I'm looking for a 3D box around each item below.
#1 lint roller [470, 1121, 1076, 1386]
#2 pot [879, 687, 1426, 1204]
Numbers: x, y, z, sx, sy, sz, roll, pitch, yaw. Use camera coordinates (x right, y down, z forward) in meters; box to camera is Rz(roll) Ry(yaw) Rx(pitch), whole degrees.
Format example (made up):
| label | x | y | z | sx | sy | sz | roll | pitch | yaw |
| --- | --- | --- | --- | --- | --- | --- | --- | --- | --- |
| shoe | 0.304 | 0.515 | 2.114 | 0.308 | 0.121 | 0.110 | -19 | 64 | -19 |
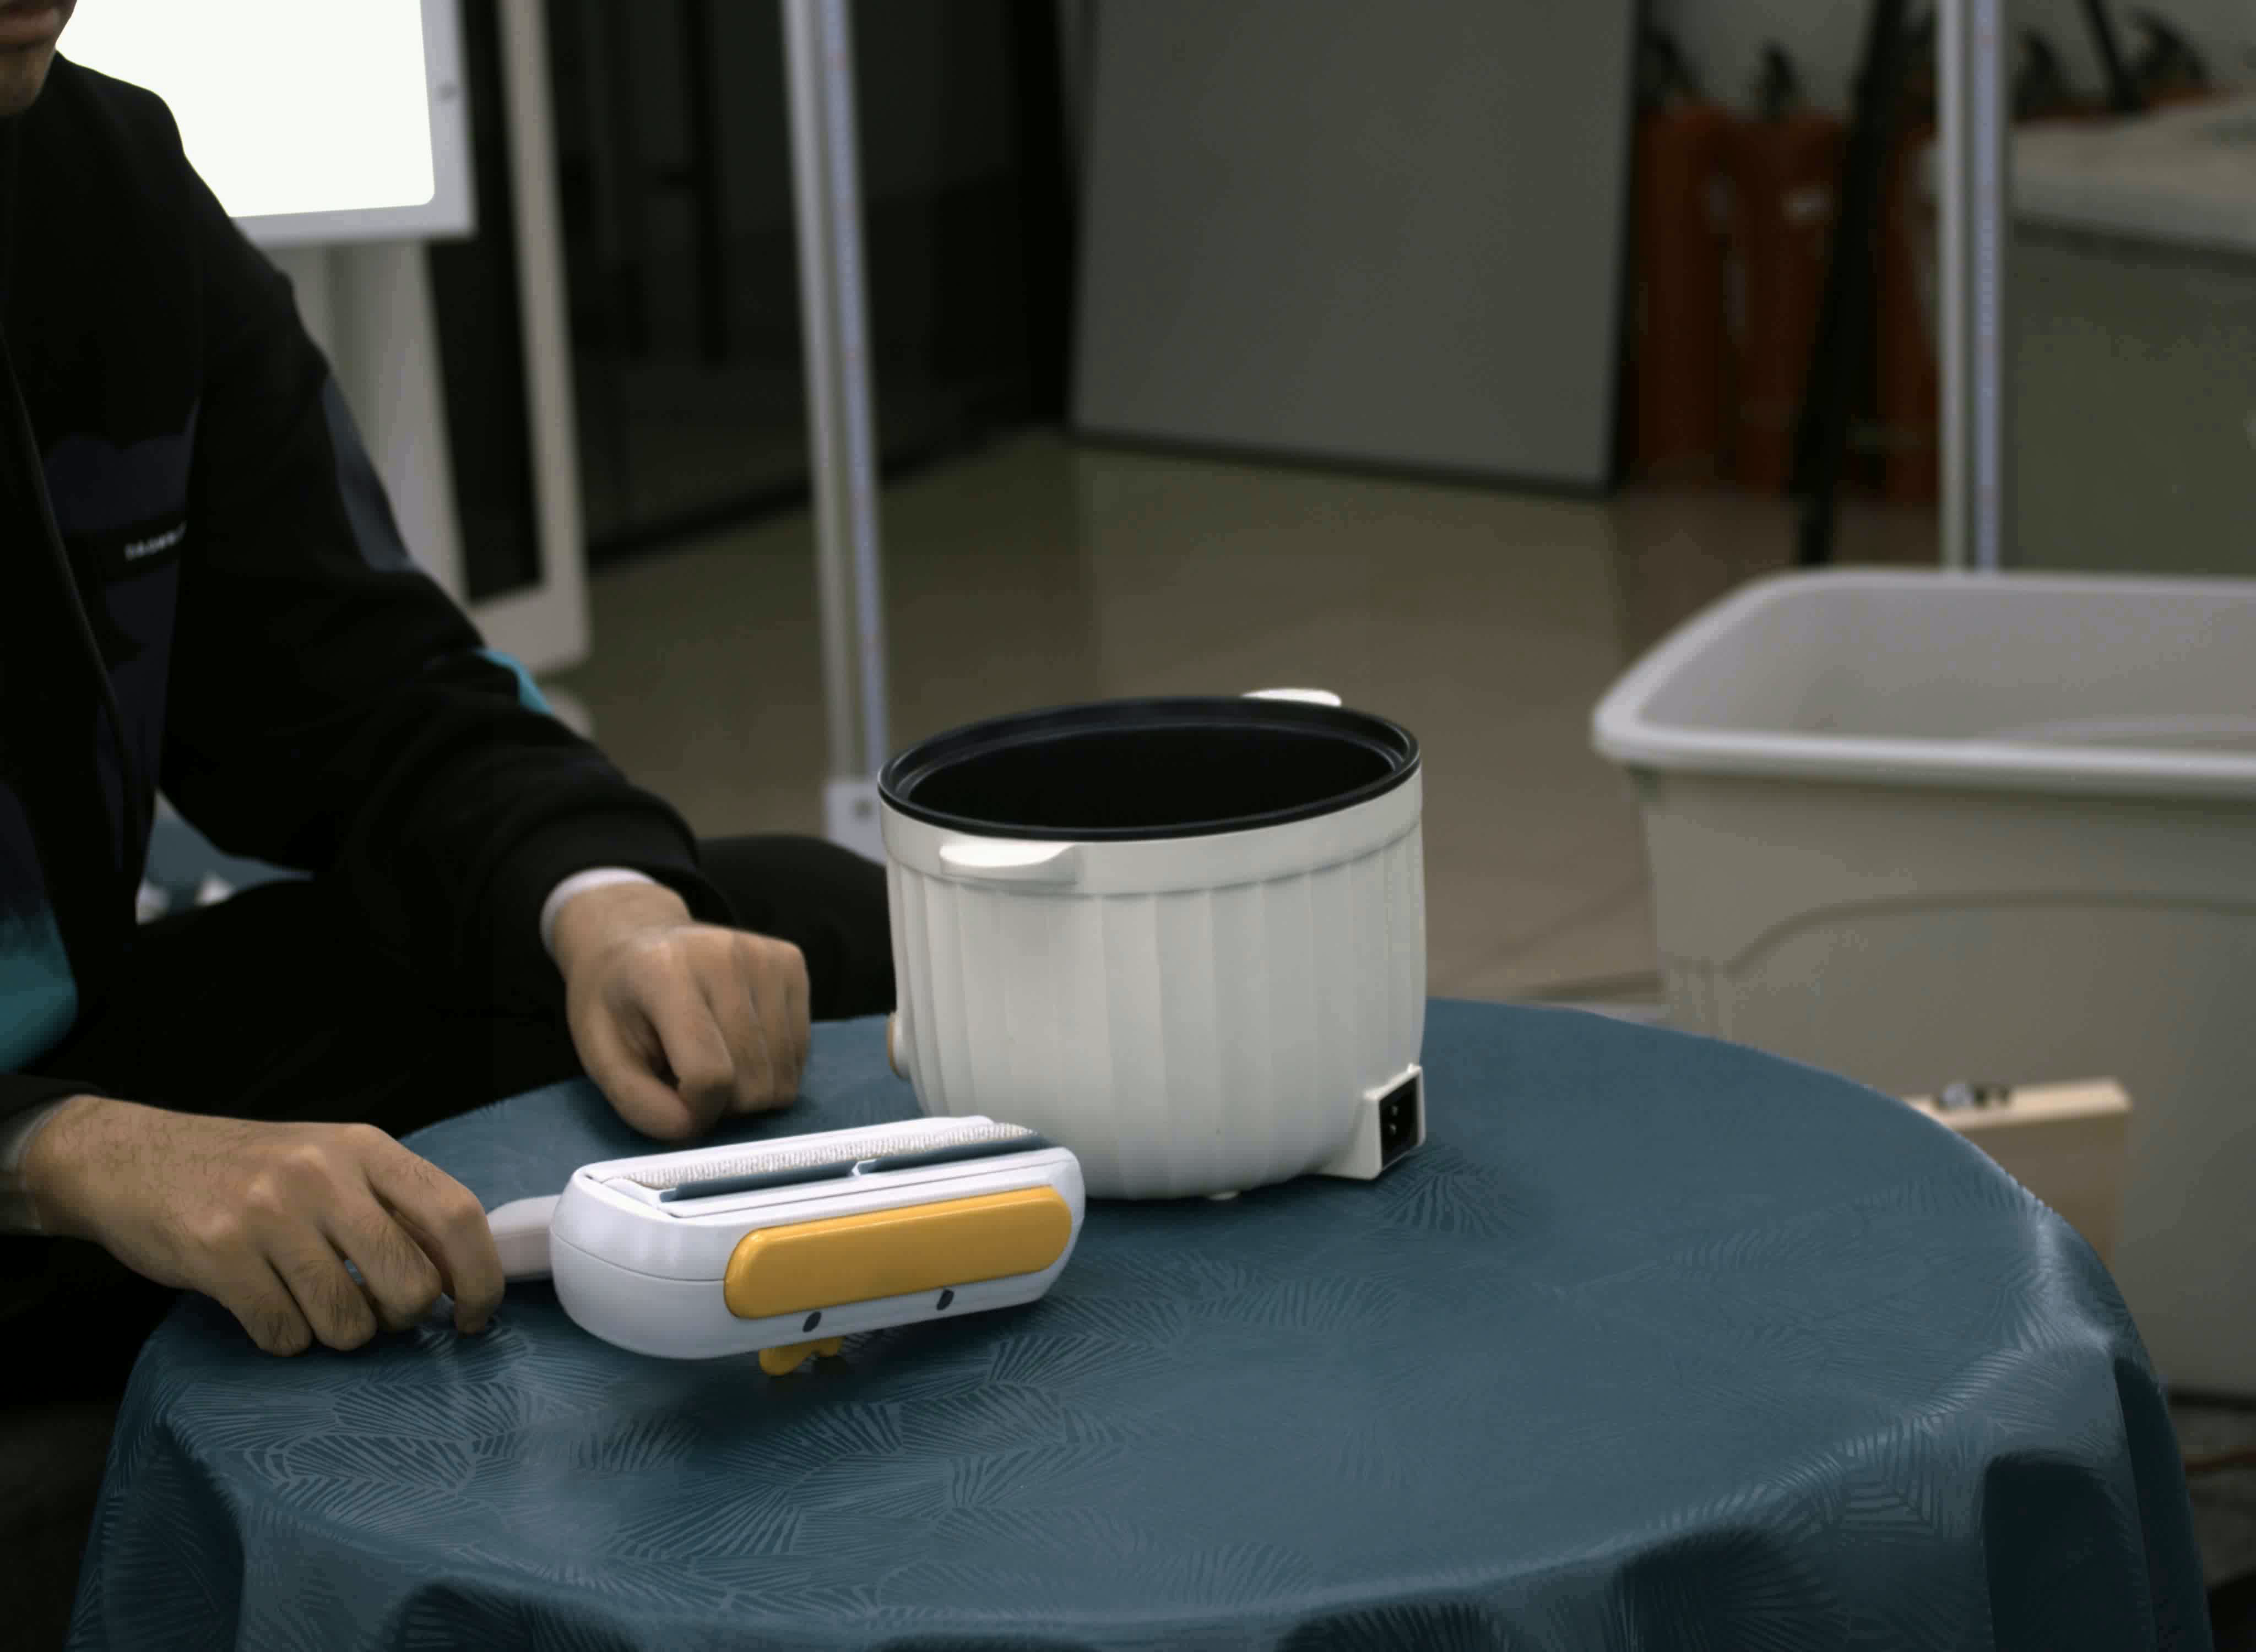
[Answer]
| label | x | y | z | sx | sy | sz | roll | pitch | yaw |
| --- | --- | --- | --- | --- | --- | --- | --- | --- | --- |
| lint roller | -0.136 | 0.124 | 1.658 | 0.188 | 0.075 | 0.194 | -10 | 12 | -42 |
| pot | 0.005 | 0.042 | 1.797 | 0.191 | 0.144 | 0.237 | 6 | 16 | 28 |
